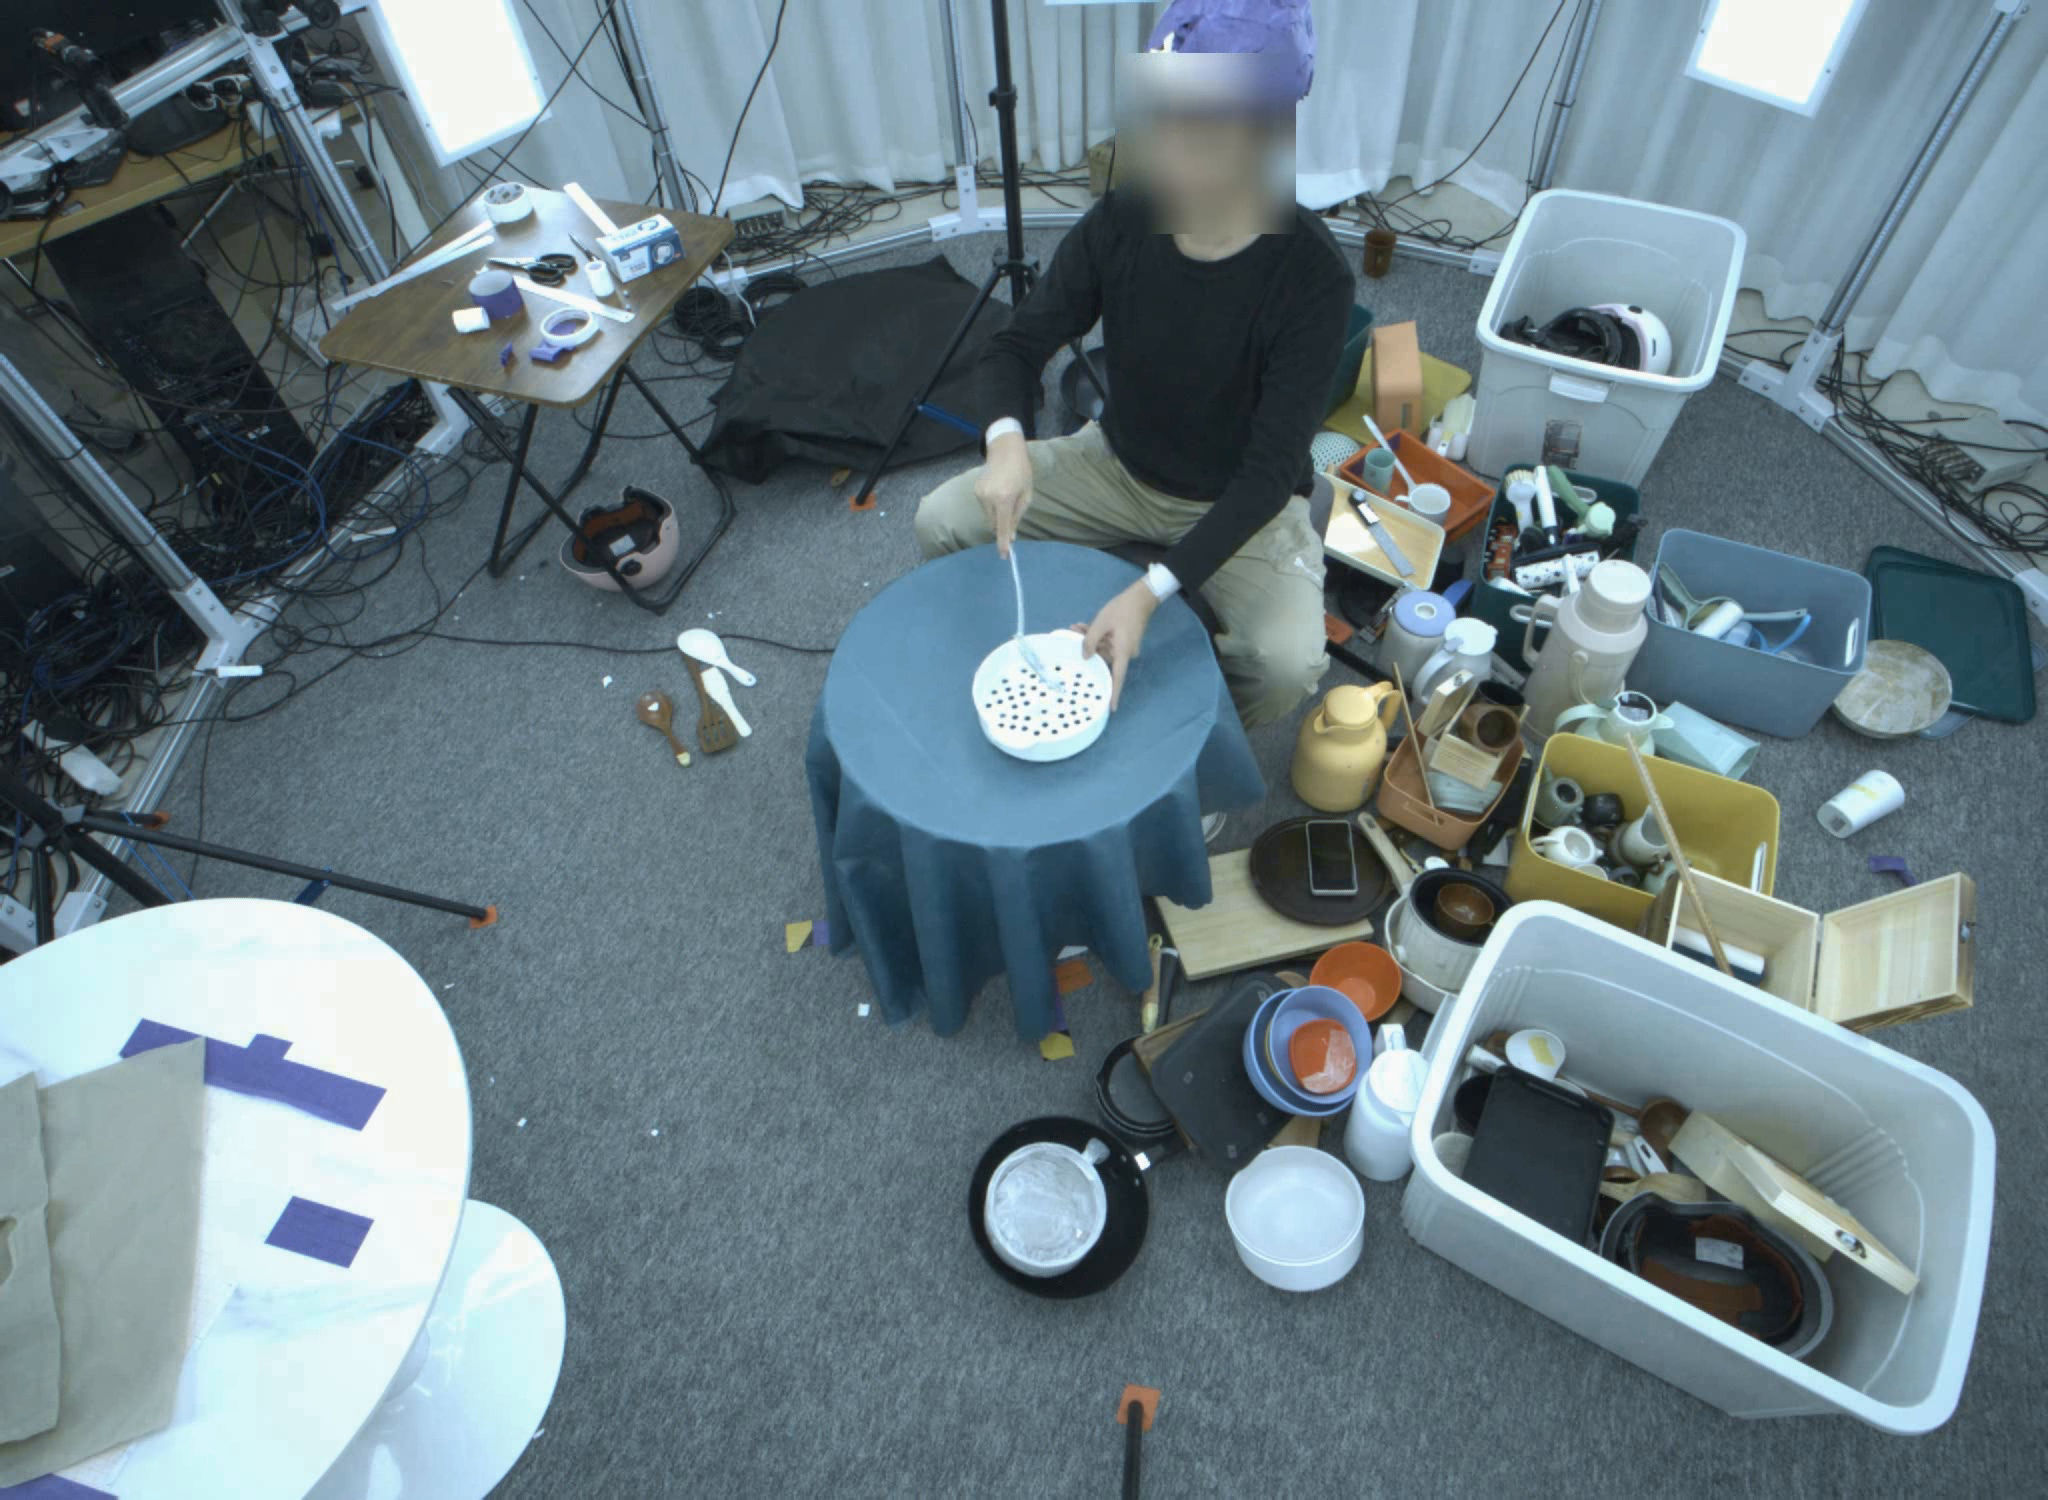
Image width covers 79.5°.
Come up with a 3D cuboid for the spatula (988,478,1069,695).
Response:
[{"bbox_3d":[-0.004,-0.247,1.786,0.044,0.100,0.362,-16,76,20],"label":"spatula"}]

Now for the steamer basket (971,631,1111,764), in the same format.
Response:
[{"bbox_3d":[0.025,-0.072,1.795,0.199,0.070,0.231,22,57,16],"label":"steamer basket"}]
